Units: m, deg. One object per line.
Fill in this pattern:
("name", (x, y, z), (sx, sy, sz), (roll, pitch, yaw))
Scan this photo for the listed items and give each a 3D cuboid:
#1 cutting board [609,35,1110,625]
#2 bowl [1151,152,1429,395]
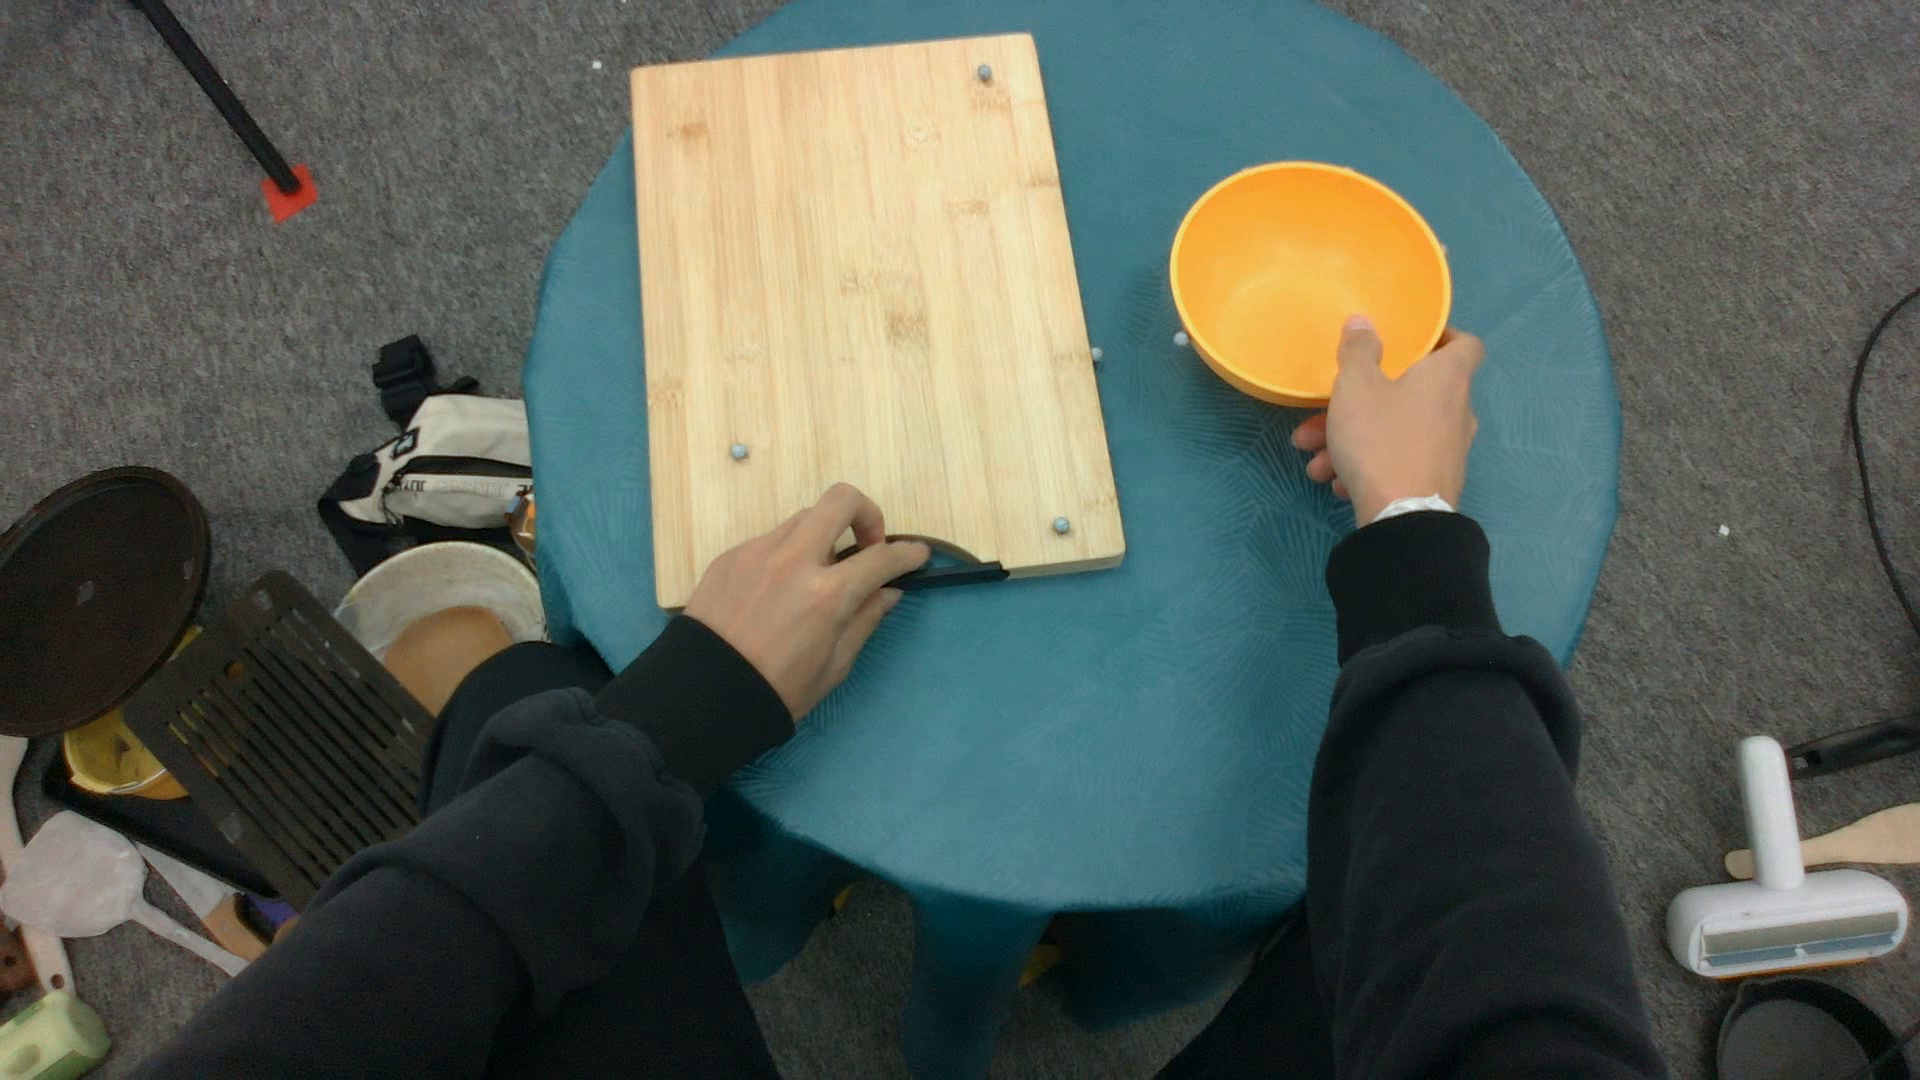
("cutting board", (-0.065, -0.132, 0.763), (0.251, 0.023, 0.349), (-8, 68, -4))
("bowl", (0.174, -0.134, 0.749), (0.145, 0.060, 0.146), (0, 69, 1))
